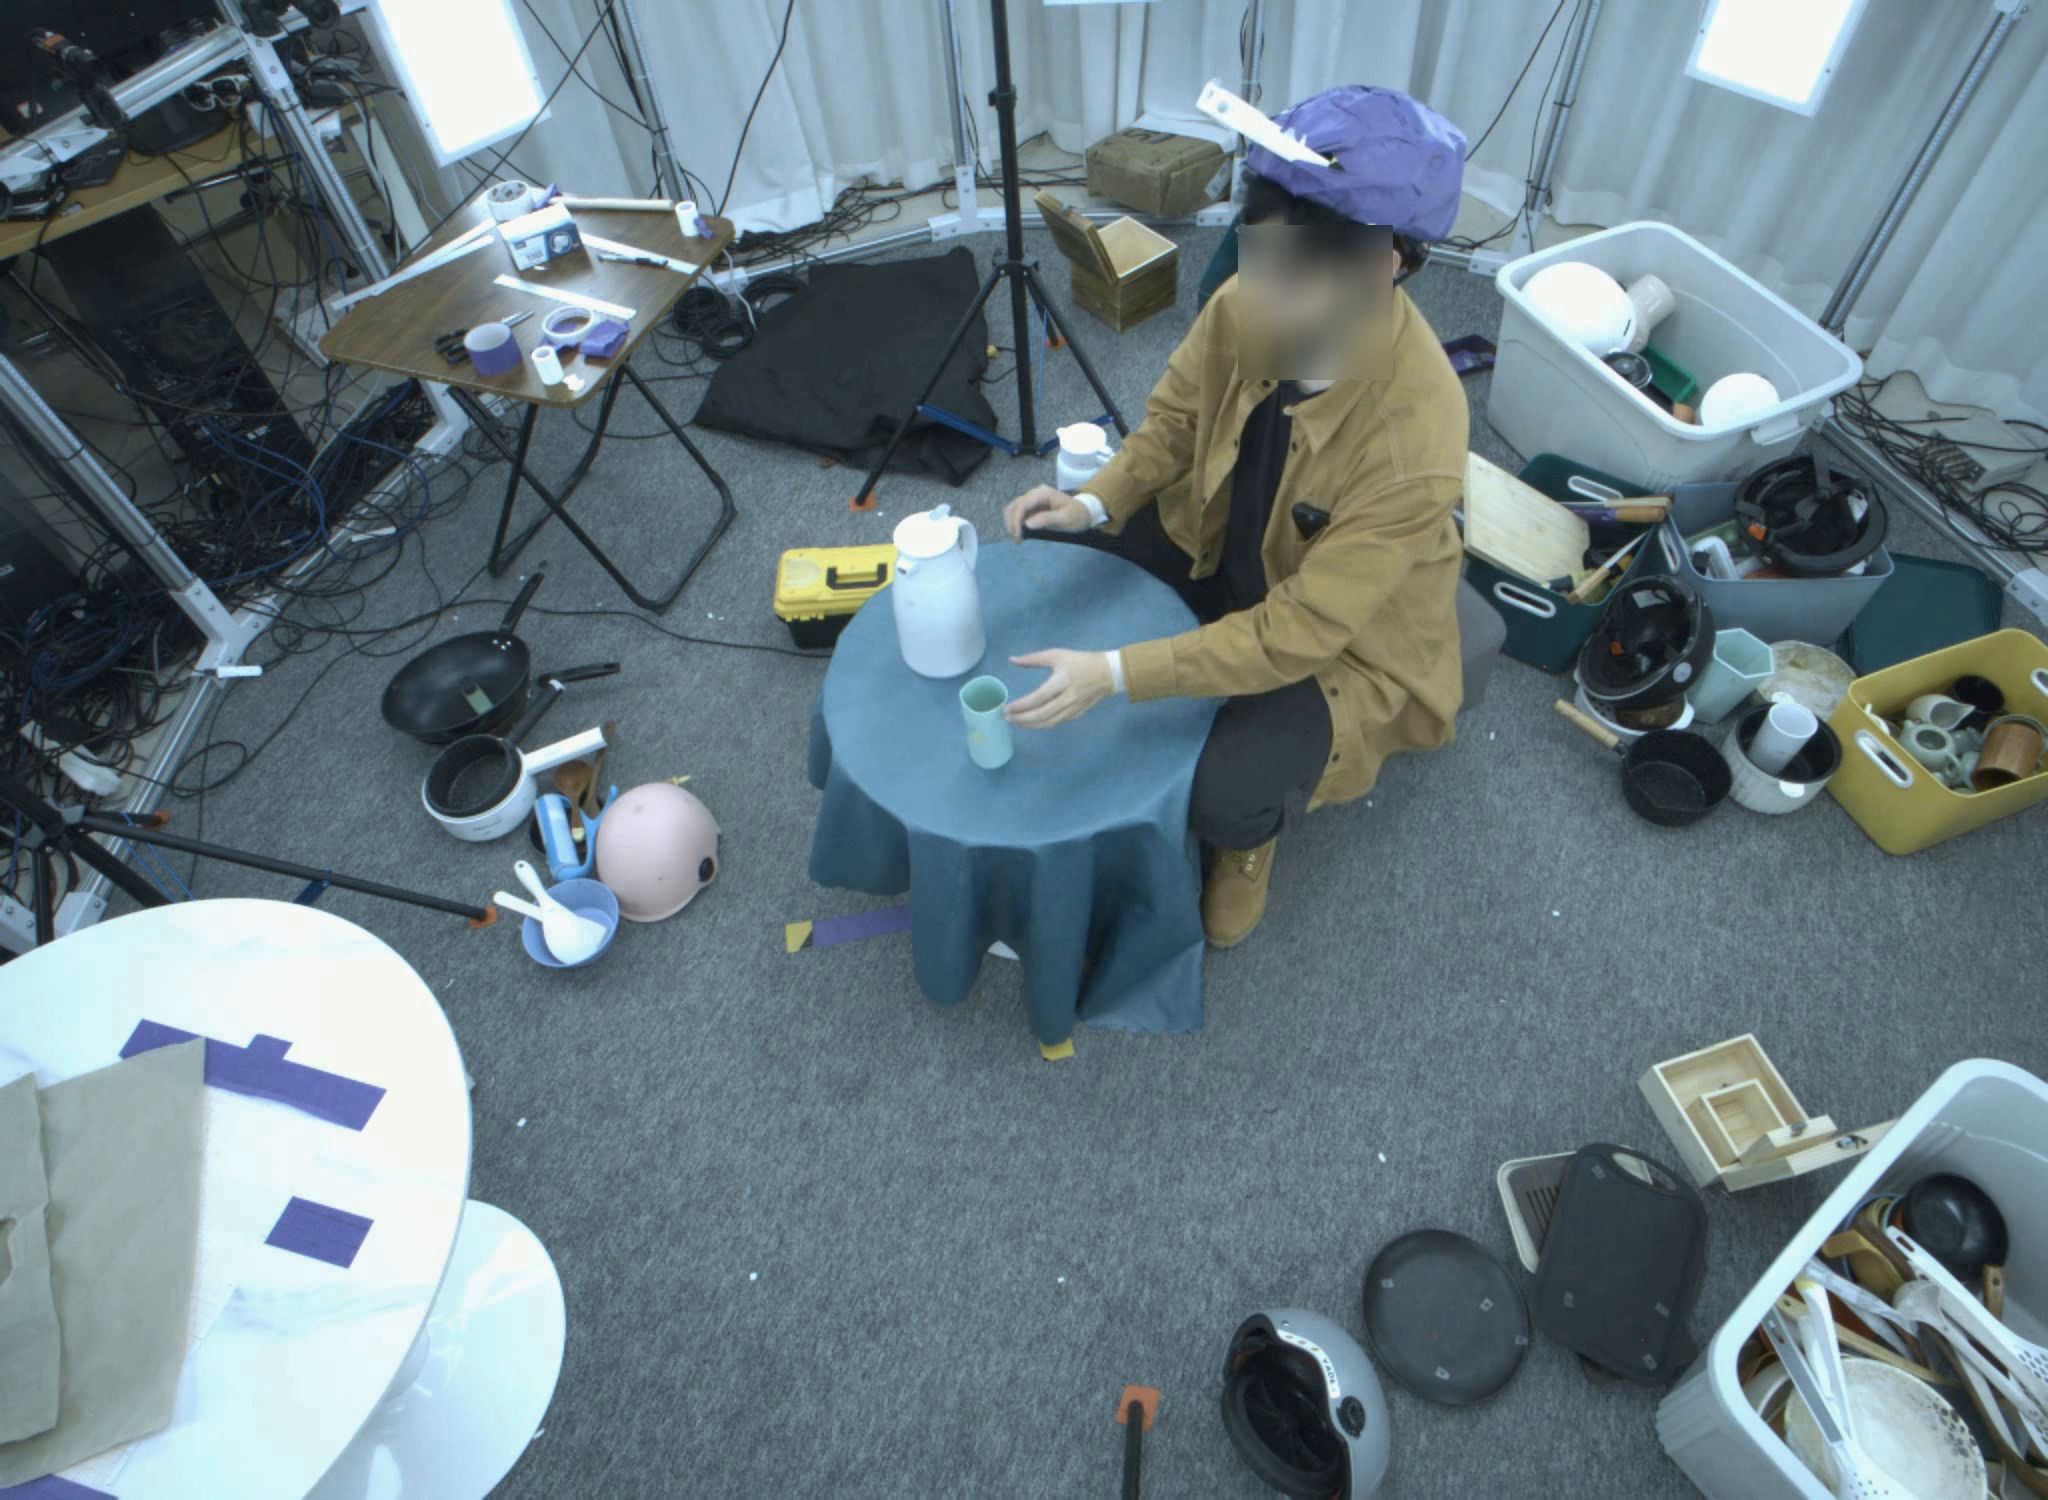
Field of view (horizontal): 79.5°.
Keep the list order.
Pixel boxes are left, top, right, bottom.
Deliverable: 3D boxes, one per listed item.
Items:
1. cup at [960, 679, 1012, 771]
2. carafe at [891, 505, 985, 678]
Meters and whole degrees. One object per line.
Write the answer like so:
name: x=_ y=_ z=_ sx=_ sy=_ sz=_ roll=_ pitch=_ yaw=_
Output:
cup: x=-0.051 y=-0.035 z=1.733 sx=0.066 sy=0.134 sz=0.066 roll=-1 pitch=55 yaw=3
carafe: x=-0.125 y=-0.248 z=1.811 sx=0.130 sy=0.251 sz=0.168 roll=23 pitch=58 yaw=19
